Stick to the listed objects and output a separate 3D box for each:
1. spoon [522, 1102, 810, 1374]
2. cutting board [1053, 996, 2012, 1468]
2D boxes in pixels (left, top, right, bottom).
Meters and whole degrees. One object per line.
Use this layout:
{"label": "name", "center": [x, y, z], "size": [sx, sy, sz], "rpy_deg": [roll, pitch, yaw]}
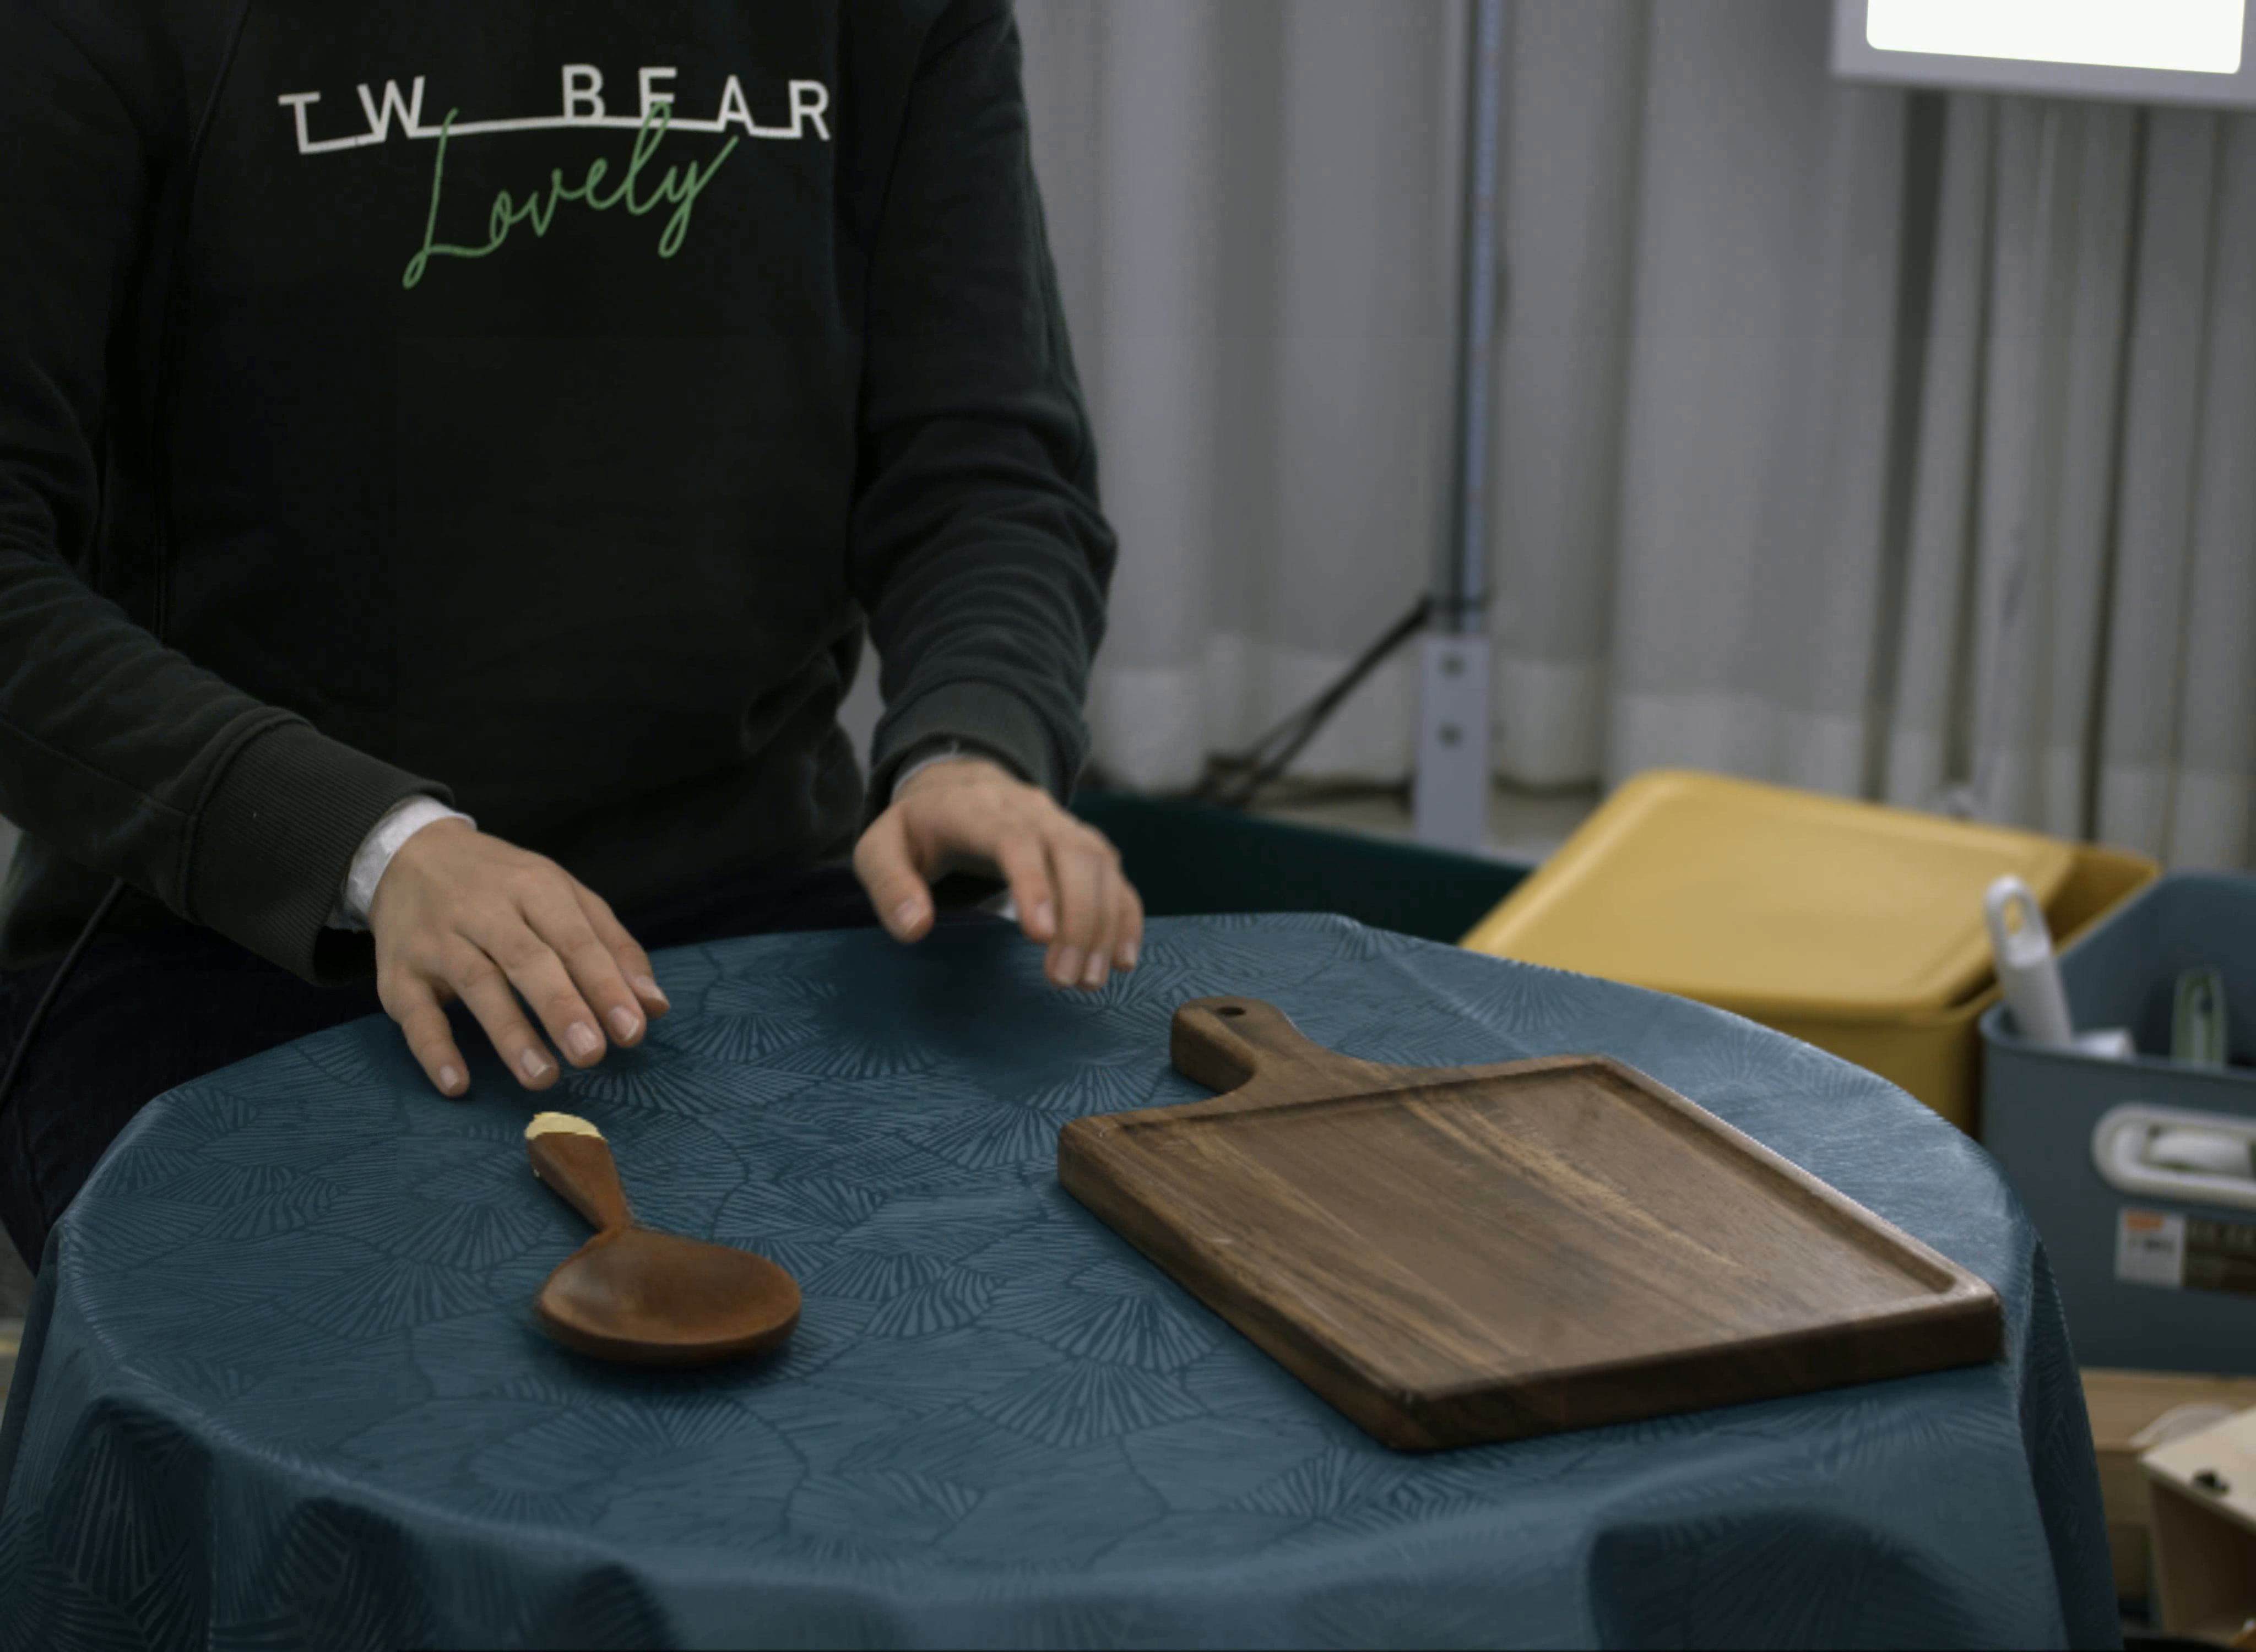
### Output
{"label": "spoon", "center": [-0.147, 0.122, 1.554], "size": [0.075, 0.017, 0.213], "rpy_deg": [-6, 18, -16]}
{"label": "cutting board", "center": [0.095, 0.110, 1.605], "size": [0.202, 0.023, 0.348], "rpy_deg": [-7, 17, -23]}
